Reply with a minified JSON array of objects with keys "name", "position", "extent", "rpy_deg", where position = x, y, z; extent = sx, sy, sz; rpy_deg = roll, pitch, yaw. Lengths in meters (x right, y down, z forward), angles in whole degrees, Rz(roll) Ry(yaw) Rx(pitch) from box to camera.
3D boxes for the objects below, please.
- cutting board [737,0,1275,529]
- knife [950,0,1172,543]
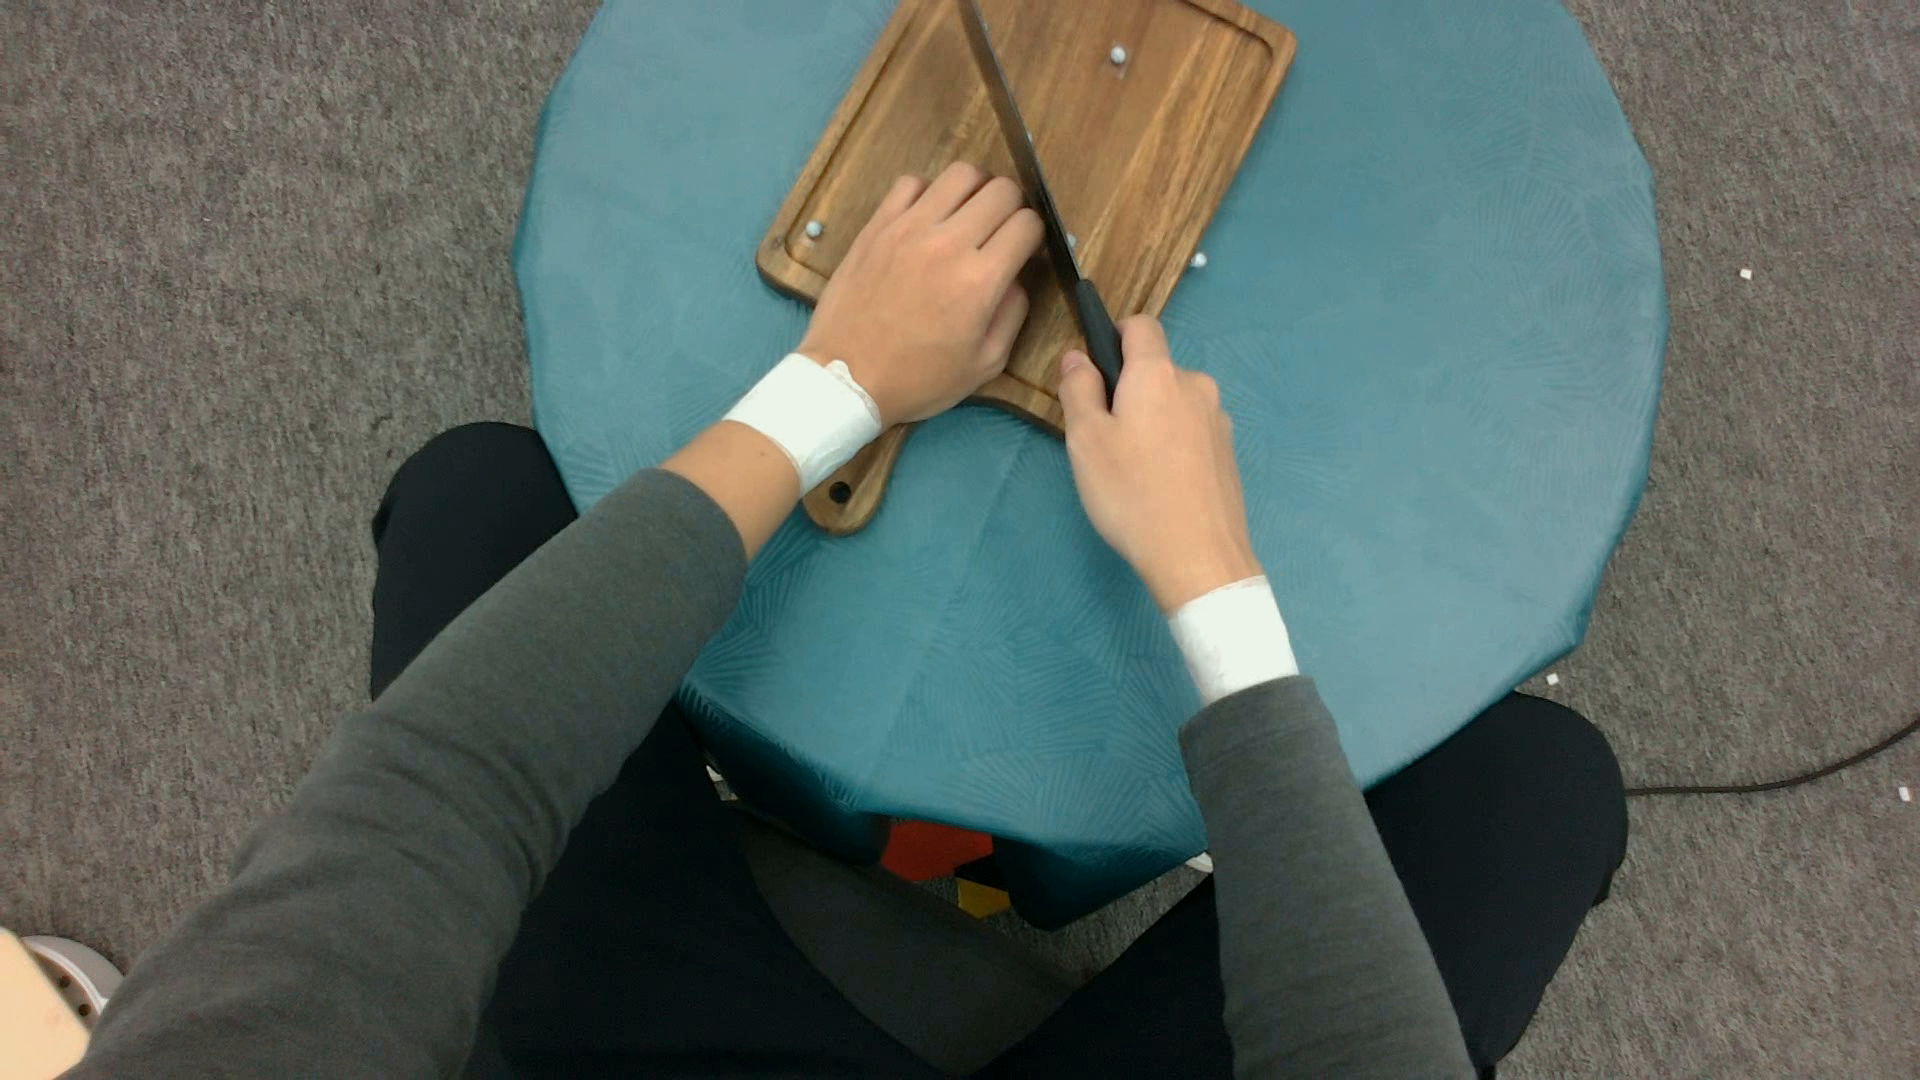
[{"name":"cutting board","position":[0.005,-0.163,0.710],"extent":[0.201,0.023,0.353],"rpy_deg":[27,80,2]},{"name":"knife","position":[0.042,-0.142,0.663],"extent":[0.021,0.081,0.302],"rpy_deg":[-20,83,0]}]
